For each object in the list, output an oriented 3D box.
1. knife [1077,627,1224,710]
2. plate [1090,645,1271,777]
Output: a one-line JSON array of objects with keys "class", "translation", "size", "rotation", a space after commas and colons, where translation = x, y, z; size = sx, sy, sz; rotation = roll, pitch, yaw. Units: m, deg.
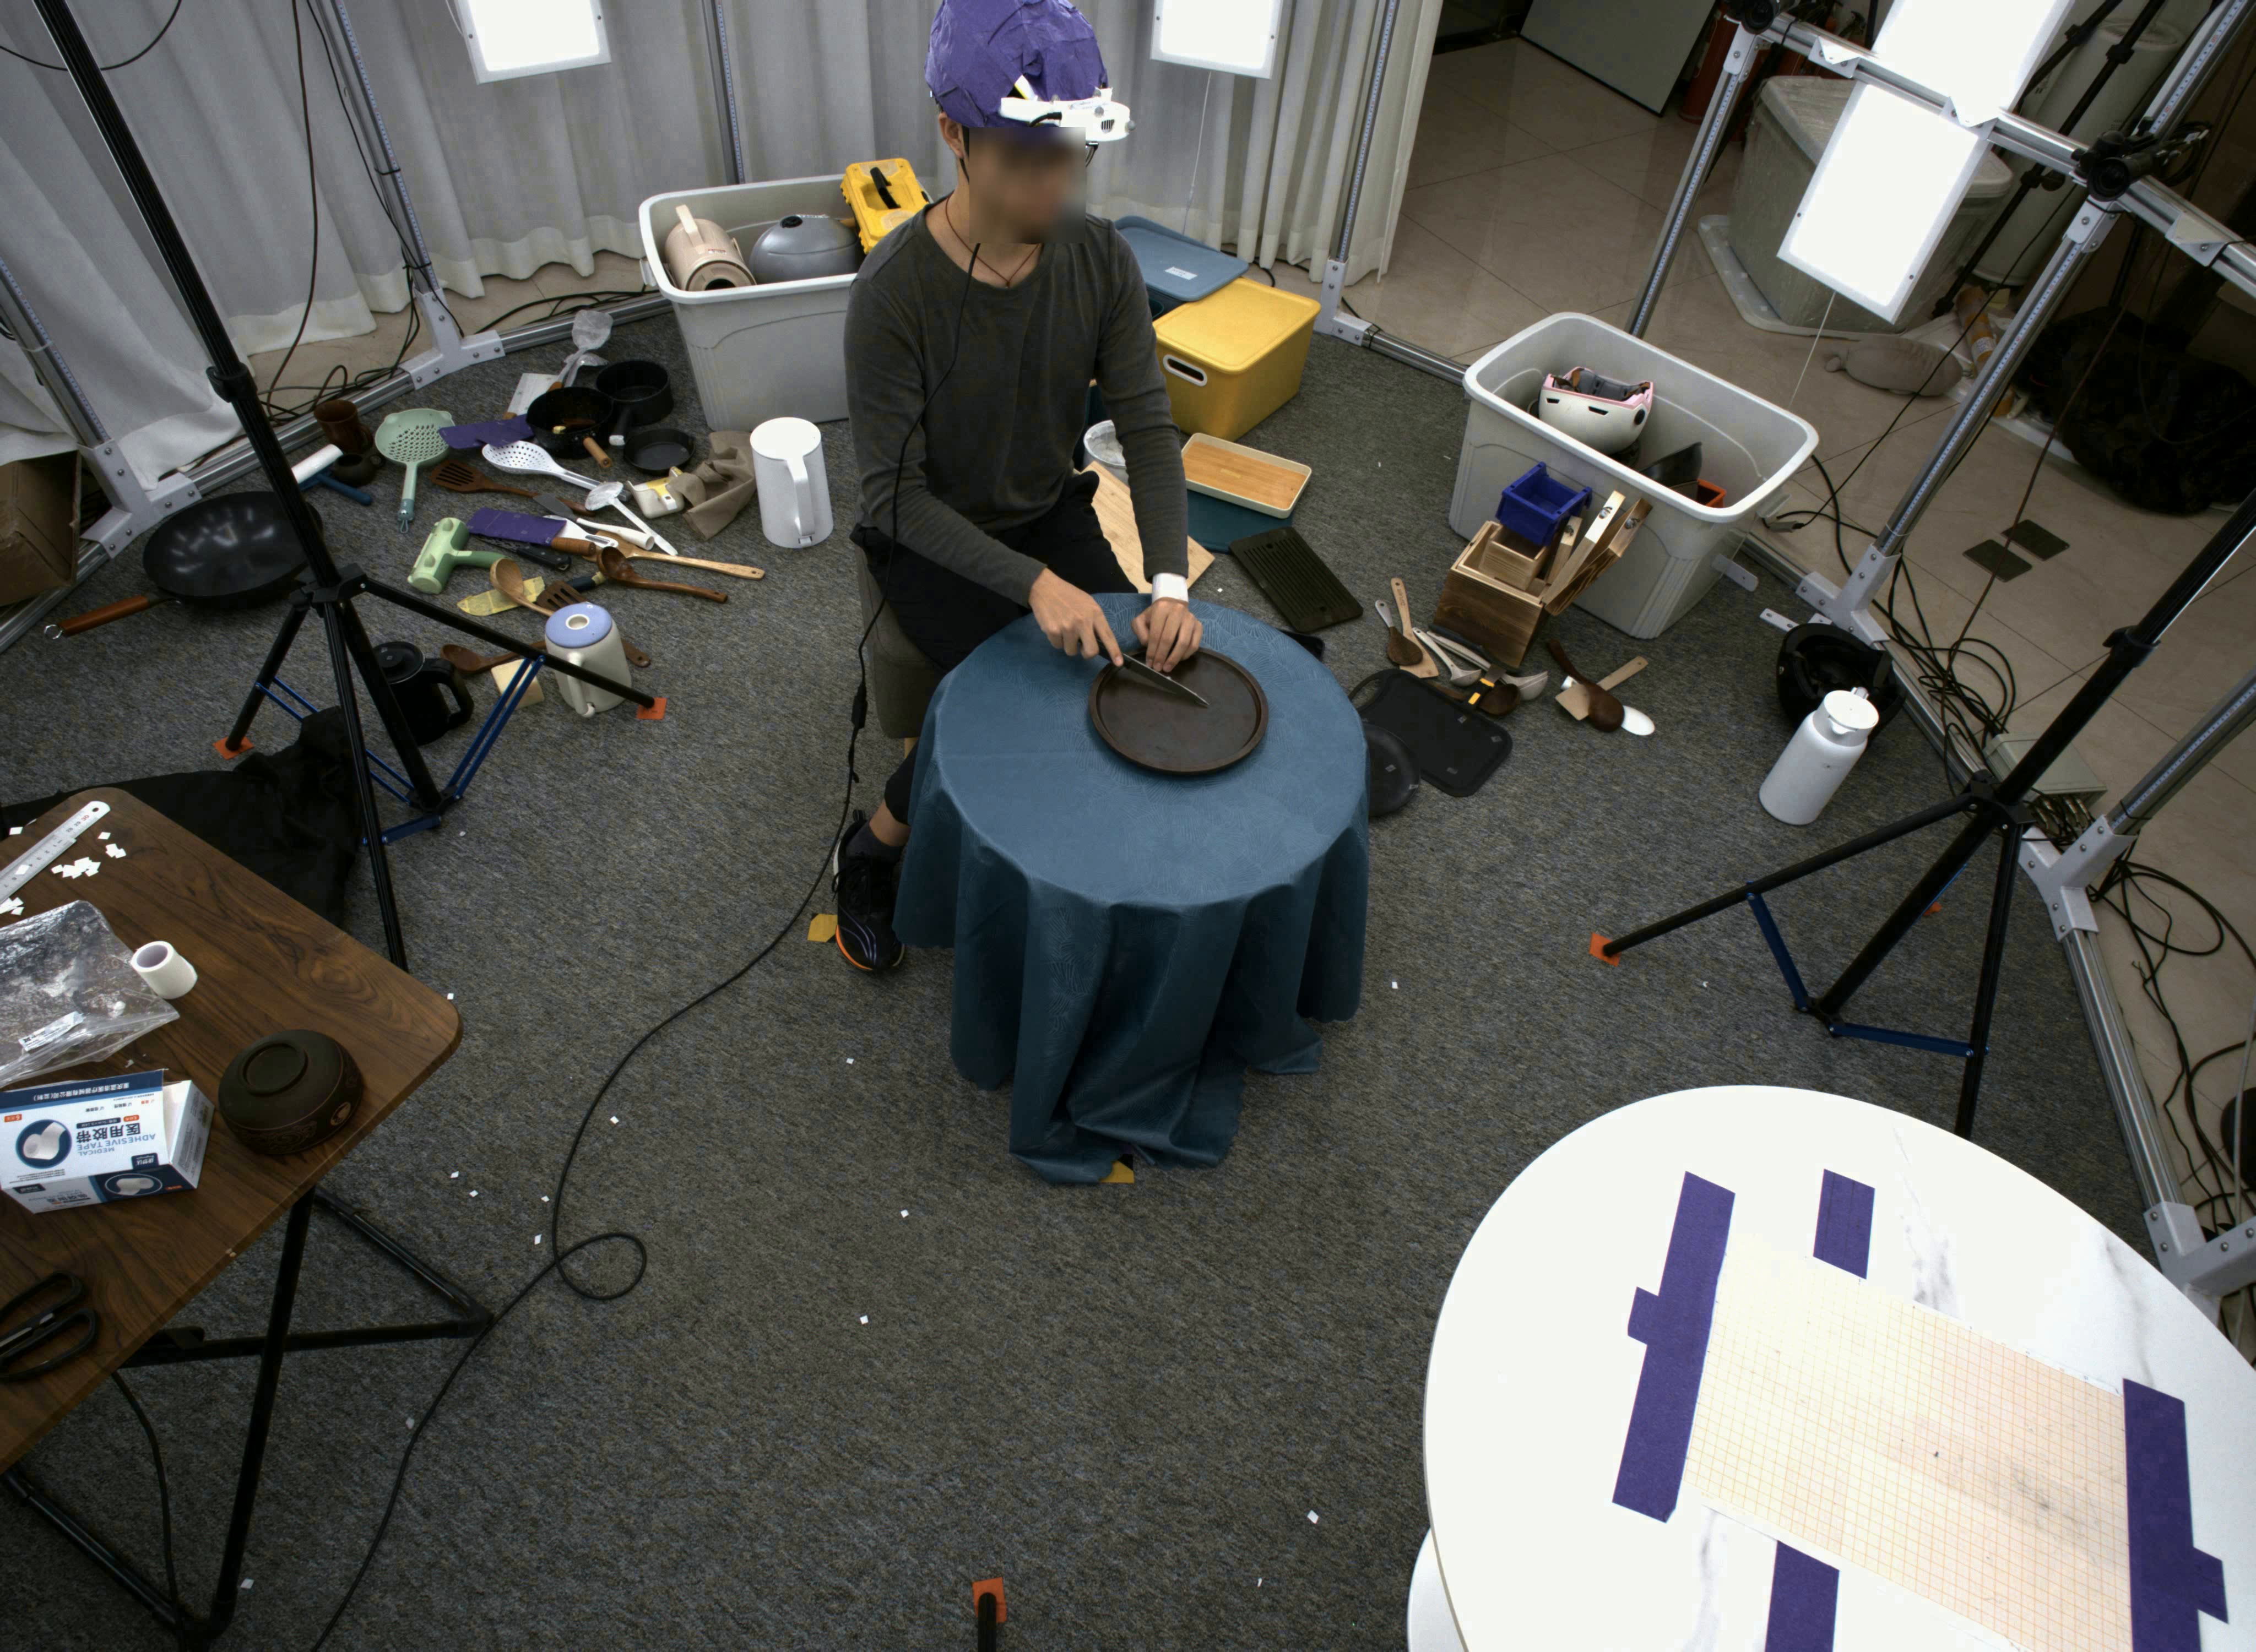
[{"class": "knife", "translation": [0.033, -0.223, 1.816], "size": [0.239, 0.024, 0.016], "rotation": [29, 46, 10]}, {"class": "plate", "translation": [0.073, -0.163, 1.799], "size": [0.254, 0.028, 0.261], "rotation": [2, 50, -3]}]
